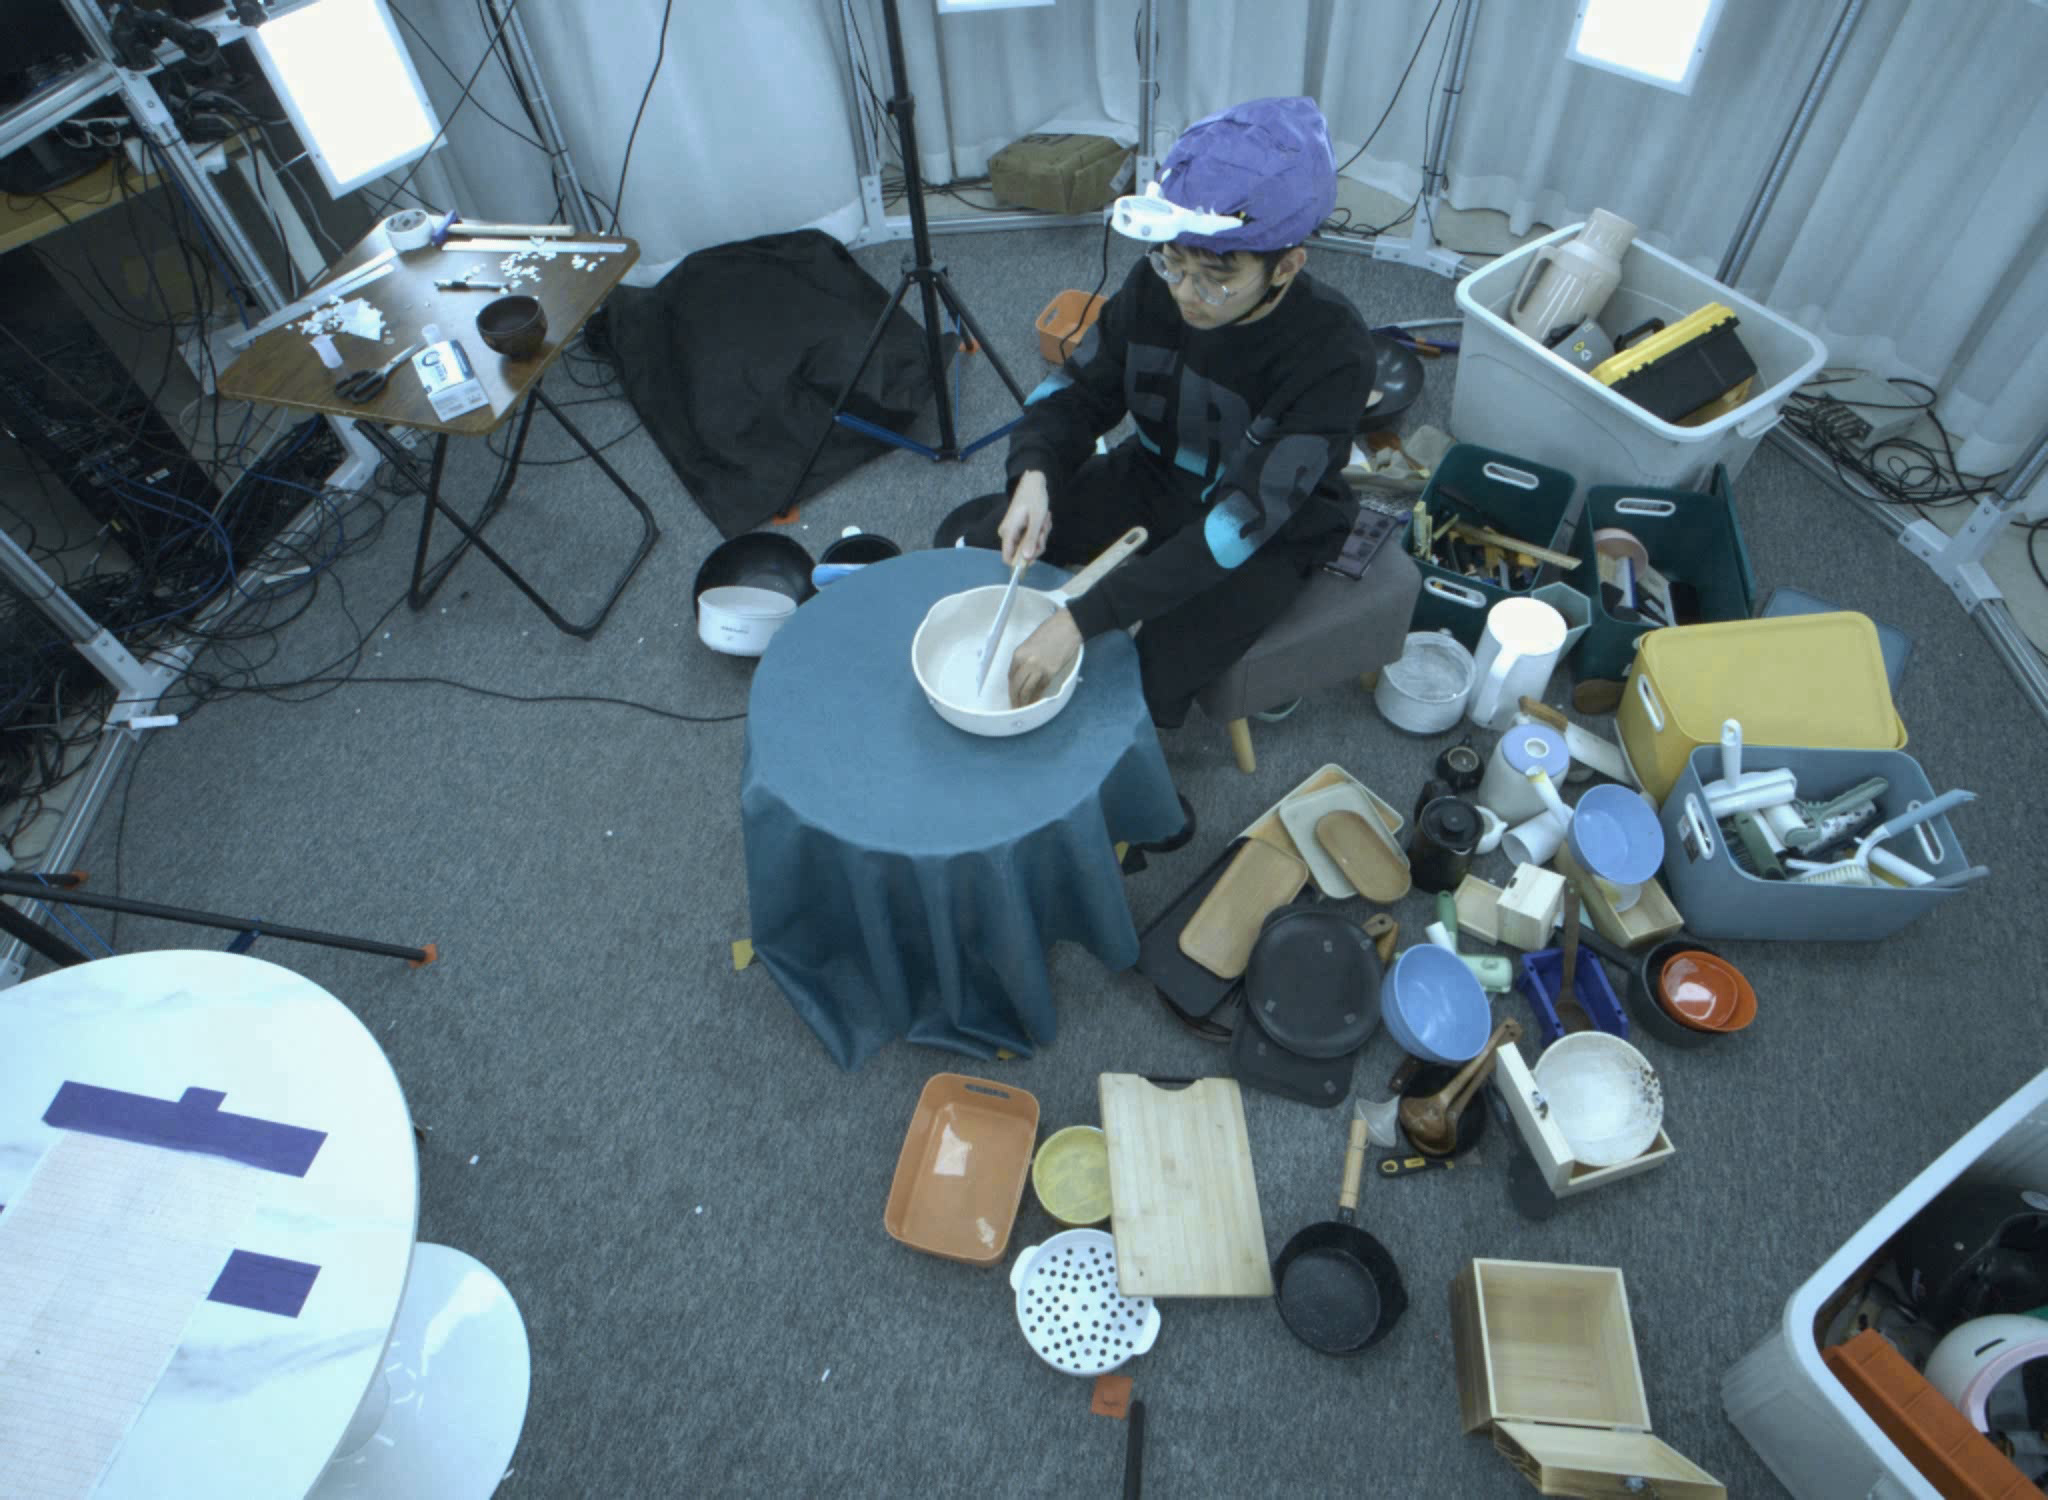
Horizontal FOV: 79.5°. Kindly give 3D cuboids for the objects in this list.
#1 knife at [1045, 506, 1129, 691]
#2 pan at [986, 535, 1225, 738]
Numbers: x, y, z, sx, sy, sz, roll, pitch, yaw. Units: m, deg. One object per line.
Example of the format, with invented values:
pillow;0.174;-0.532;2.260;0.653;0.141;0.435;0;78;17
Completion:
knife;0.091;-0.230;1.780;0.021;0.114;0.315;20;65;7
pan;0.143;-0.177;1.846;0.438;0.103;0.258;-36;58;-21
